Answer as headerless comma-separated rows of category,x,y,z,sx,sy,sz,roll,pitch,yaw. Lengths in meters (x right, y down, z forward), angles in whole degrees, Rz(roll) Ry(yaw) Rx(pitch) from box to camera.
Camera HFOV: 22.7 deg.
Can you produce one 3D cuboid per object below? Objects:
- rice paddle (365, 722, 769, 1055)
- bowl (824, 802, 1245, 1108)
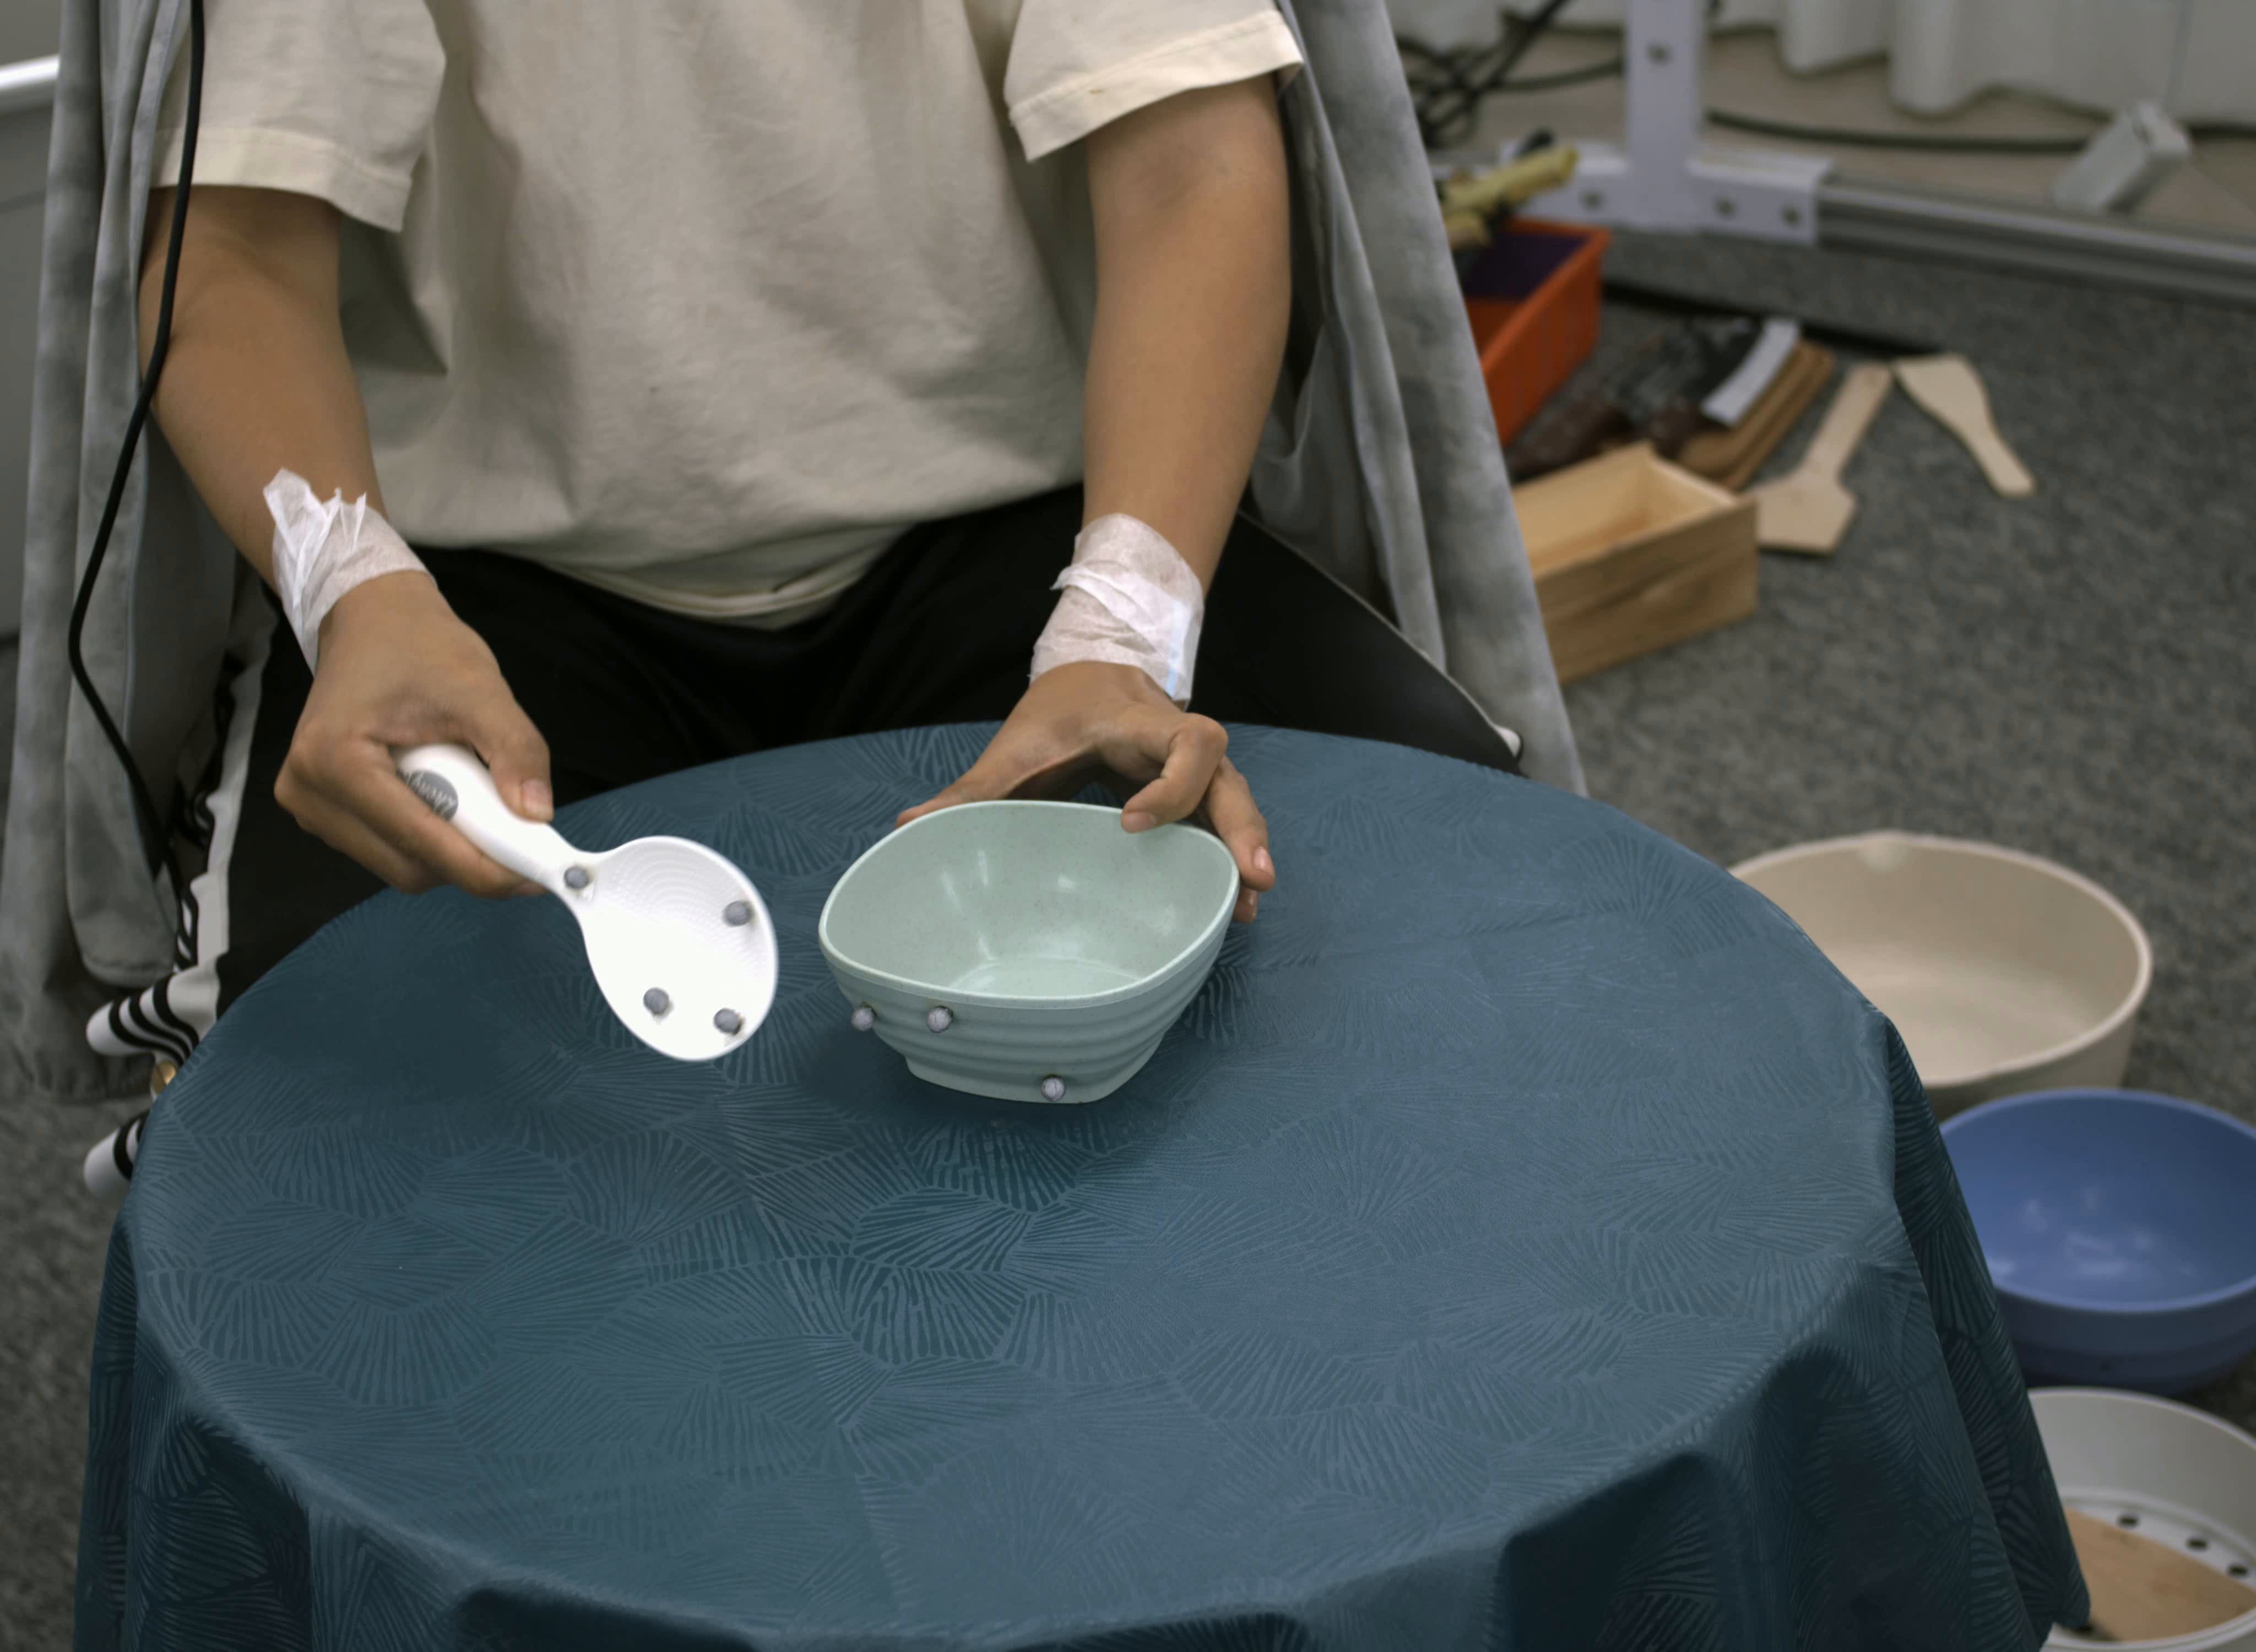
rice paddle,-0.186,0.016,1.879,0.029,0.068,0.205,4,19,-46
bowl,-0.030,0.050,1.942,0.150,0.058,0.154,-3,28,2
